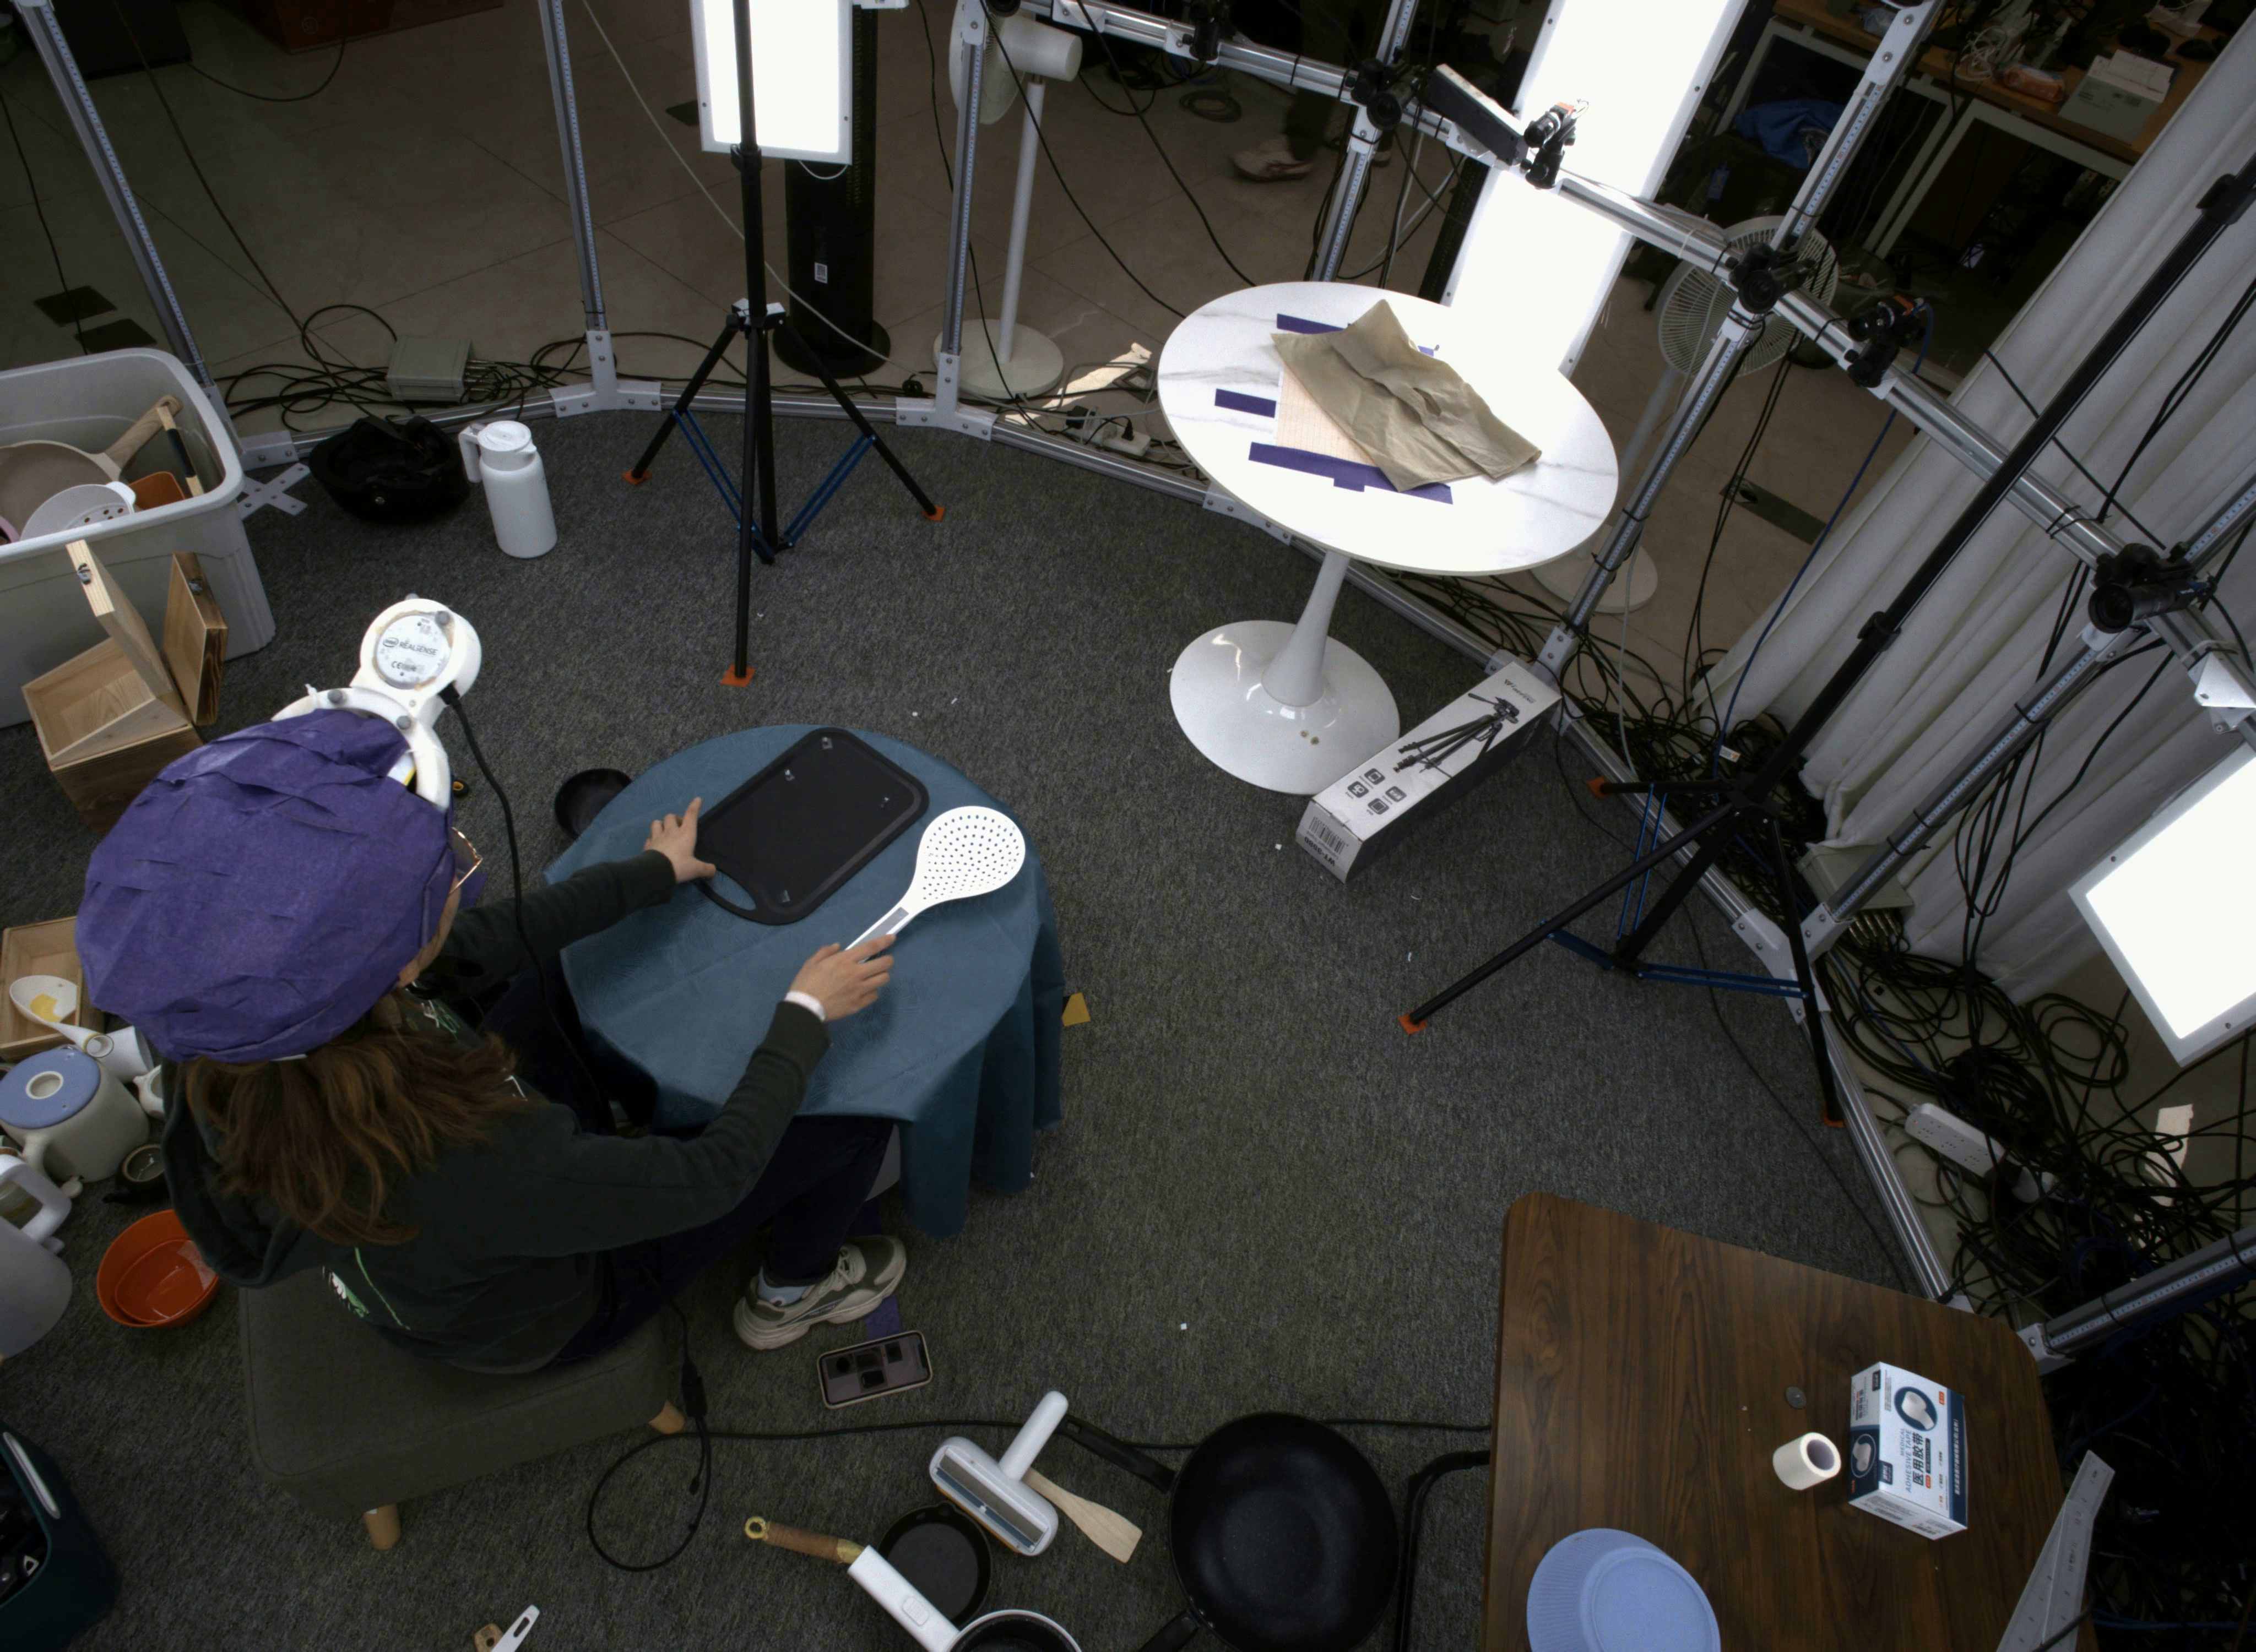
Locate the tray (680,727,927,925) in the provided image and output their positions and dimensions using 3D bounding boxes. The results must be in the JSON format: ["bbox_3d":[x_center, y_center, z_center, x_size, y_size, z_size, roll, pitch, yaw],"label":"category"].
[{"bbox_3d":[-0.433,-0.004,1.726,0.207,0.010,0.325,35,54,13],"label":"tray"}]

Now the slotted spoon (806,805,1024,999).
[{"bbox_3d":[-0.274,0.097,1.666,0.133,0.047,0.350,37,55,17],"label":"slotted spoon"}]
